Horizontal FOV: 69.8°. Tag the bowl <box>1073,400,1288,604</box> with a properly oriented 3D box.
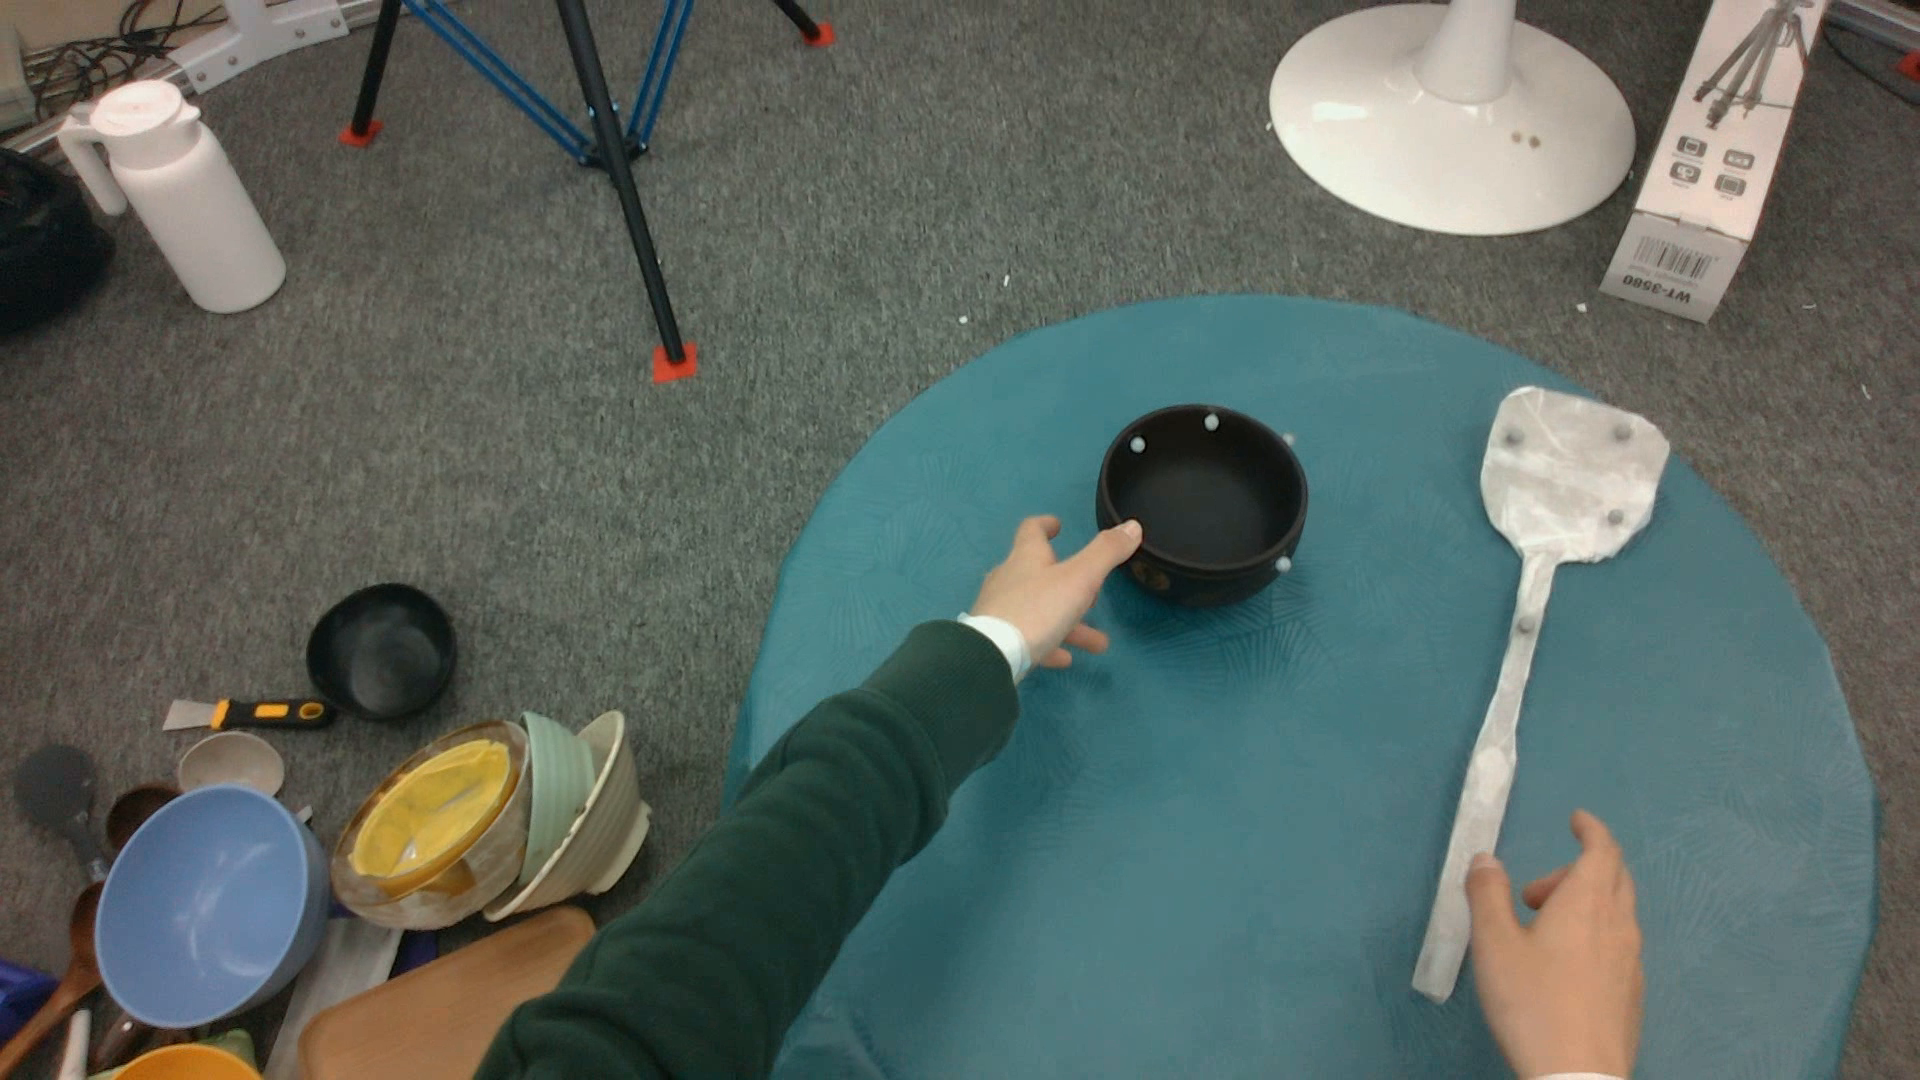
[{"bbox_3d":[0.122,-0.014,0.781,0.118,0.069,0.118,-1,54,1],"label":"bowl"}]

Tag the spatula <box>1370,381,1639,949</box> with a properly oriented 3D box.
[{"bbox_3d":[0.288,0.058,0.751,0.098,0.044,0.366,22,57,13],"label":"spatula"}]
